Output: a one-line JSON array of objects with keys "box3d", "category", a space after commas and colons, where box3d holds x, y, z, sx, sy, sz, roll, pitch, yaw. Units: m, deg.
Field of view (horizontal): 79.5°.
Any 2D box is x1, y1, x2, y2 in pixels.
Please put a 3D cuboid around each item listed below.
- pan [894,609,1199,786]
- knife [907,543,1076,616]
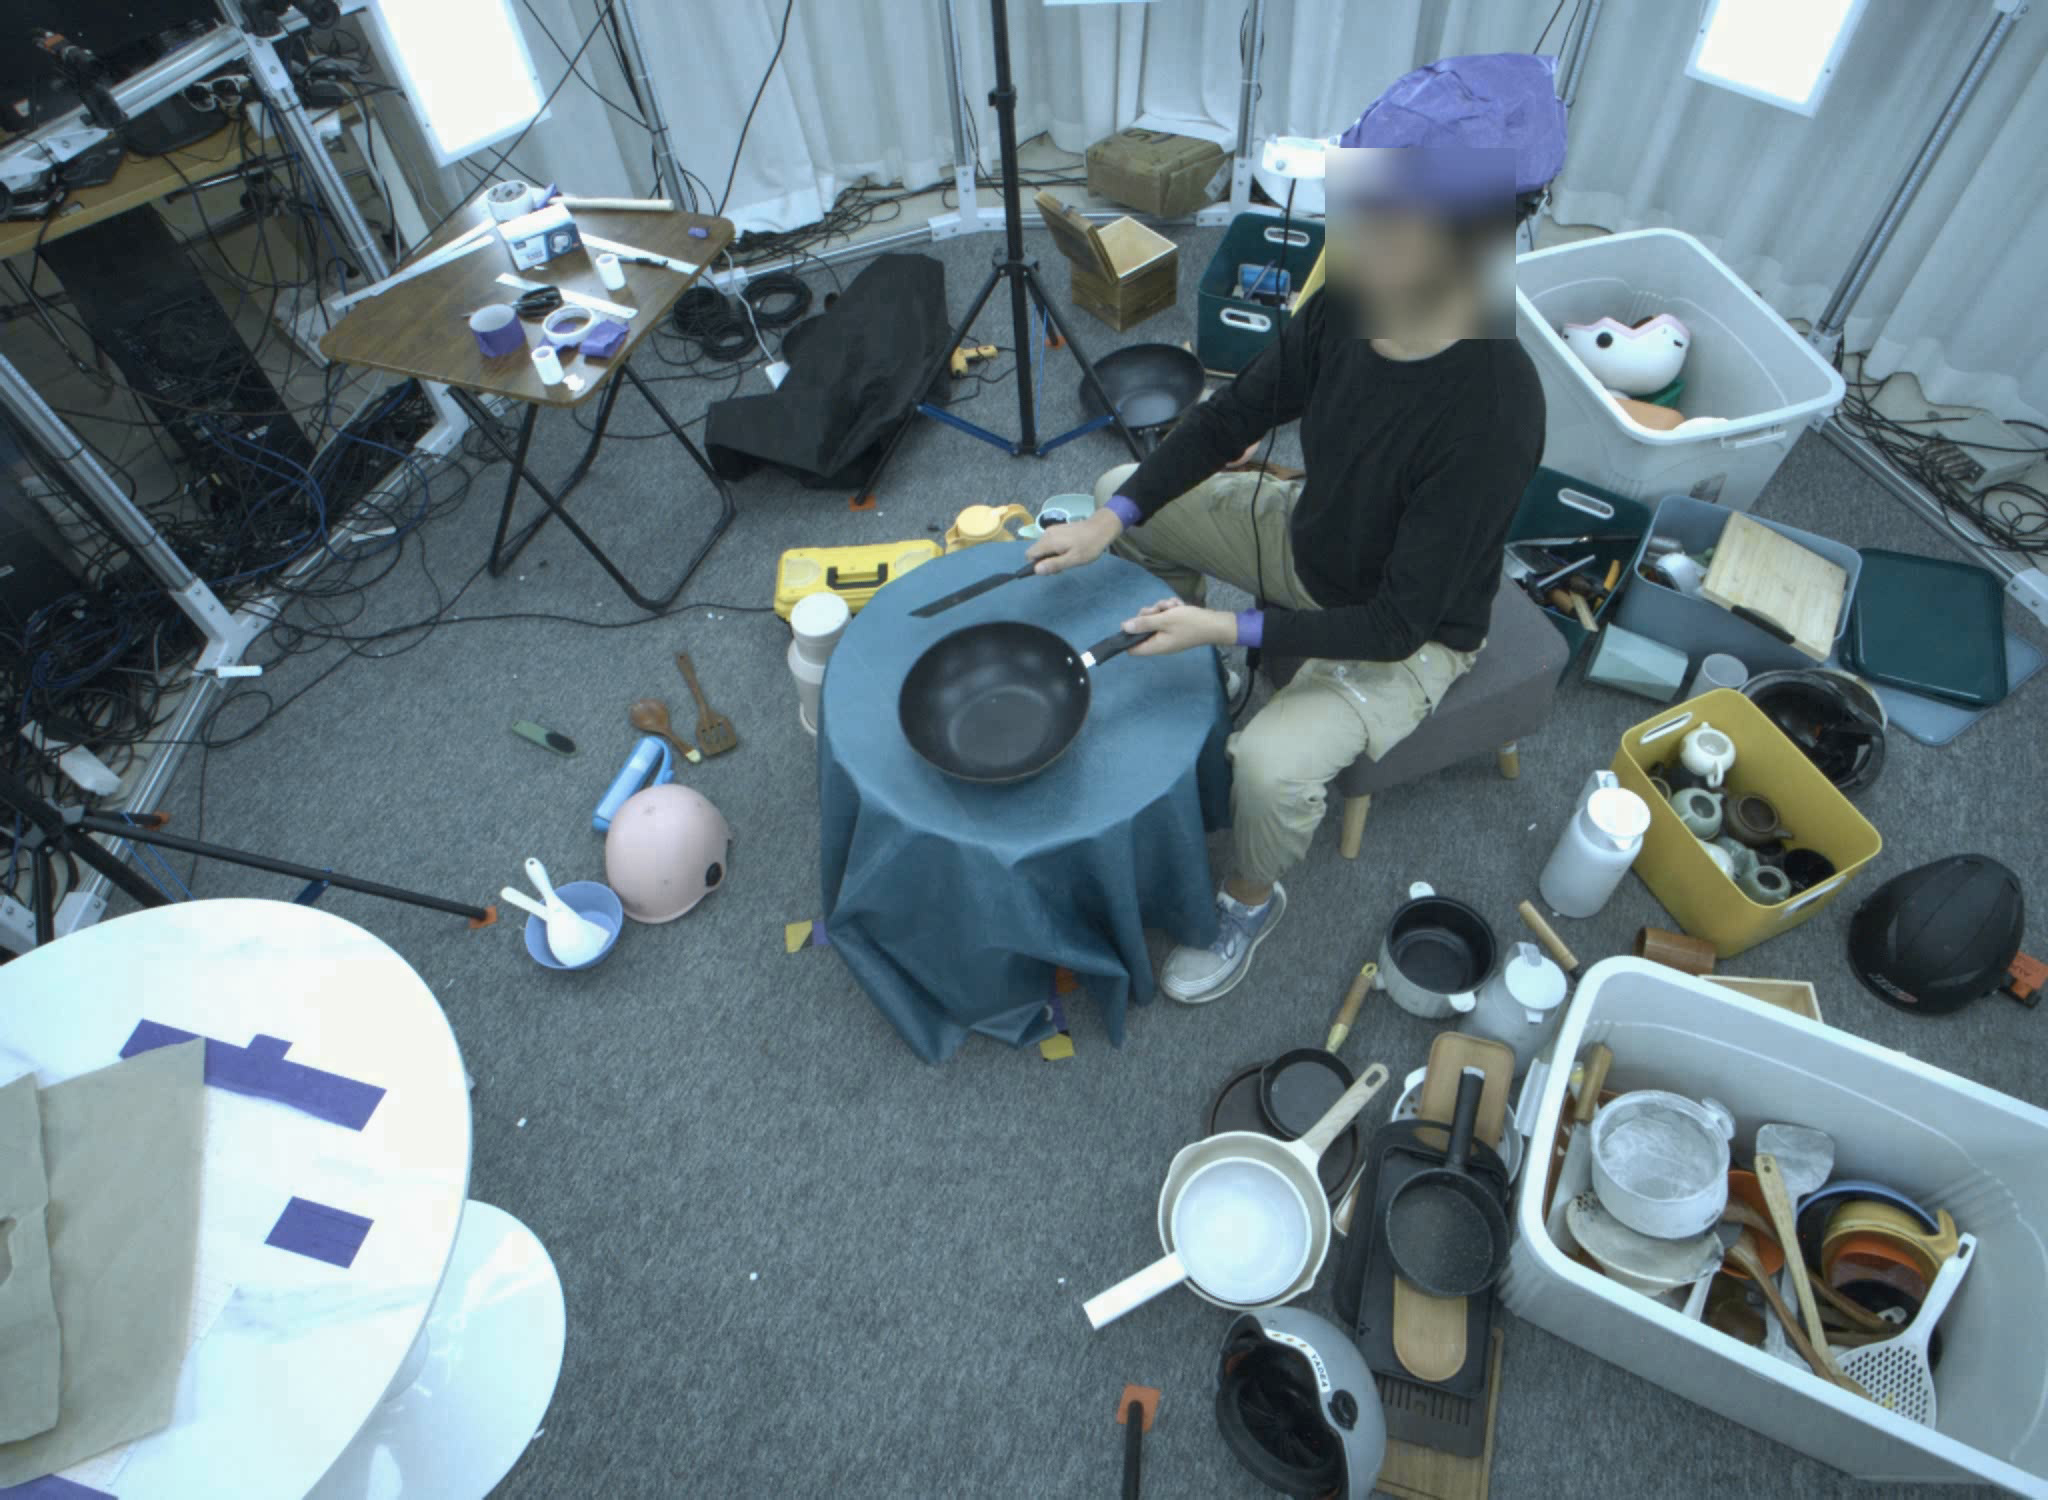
[{"box3d": [0.041, -0.092, 1.781, 0.466, 0.088, 0.283, -24, 58, -9], "category": "pan"}, {"box3d": [-0.042, -0.259, 1.869, 0.306, 0.021, 0.079, -26, 23, -27], "category": "knife"}]
